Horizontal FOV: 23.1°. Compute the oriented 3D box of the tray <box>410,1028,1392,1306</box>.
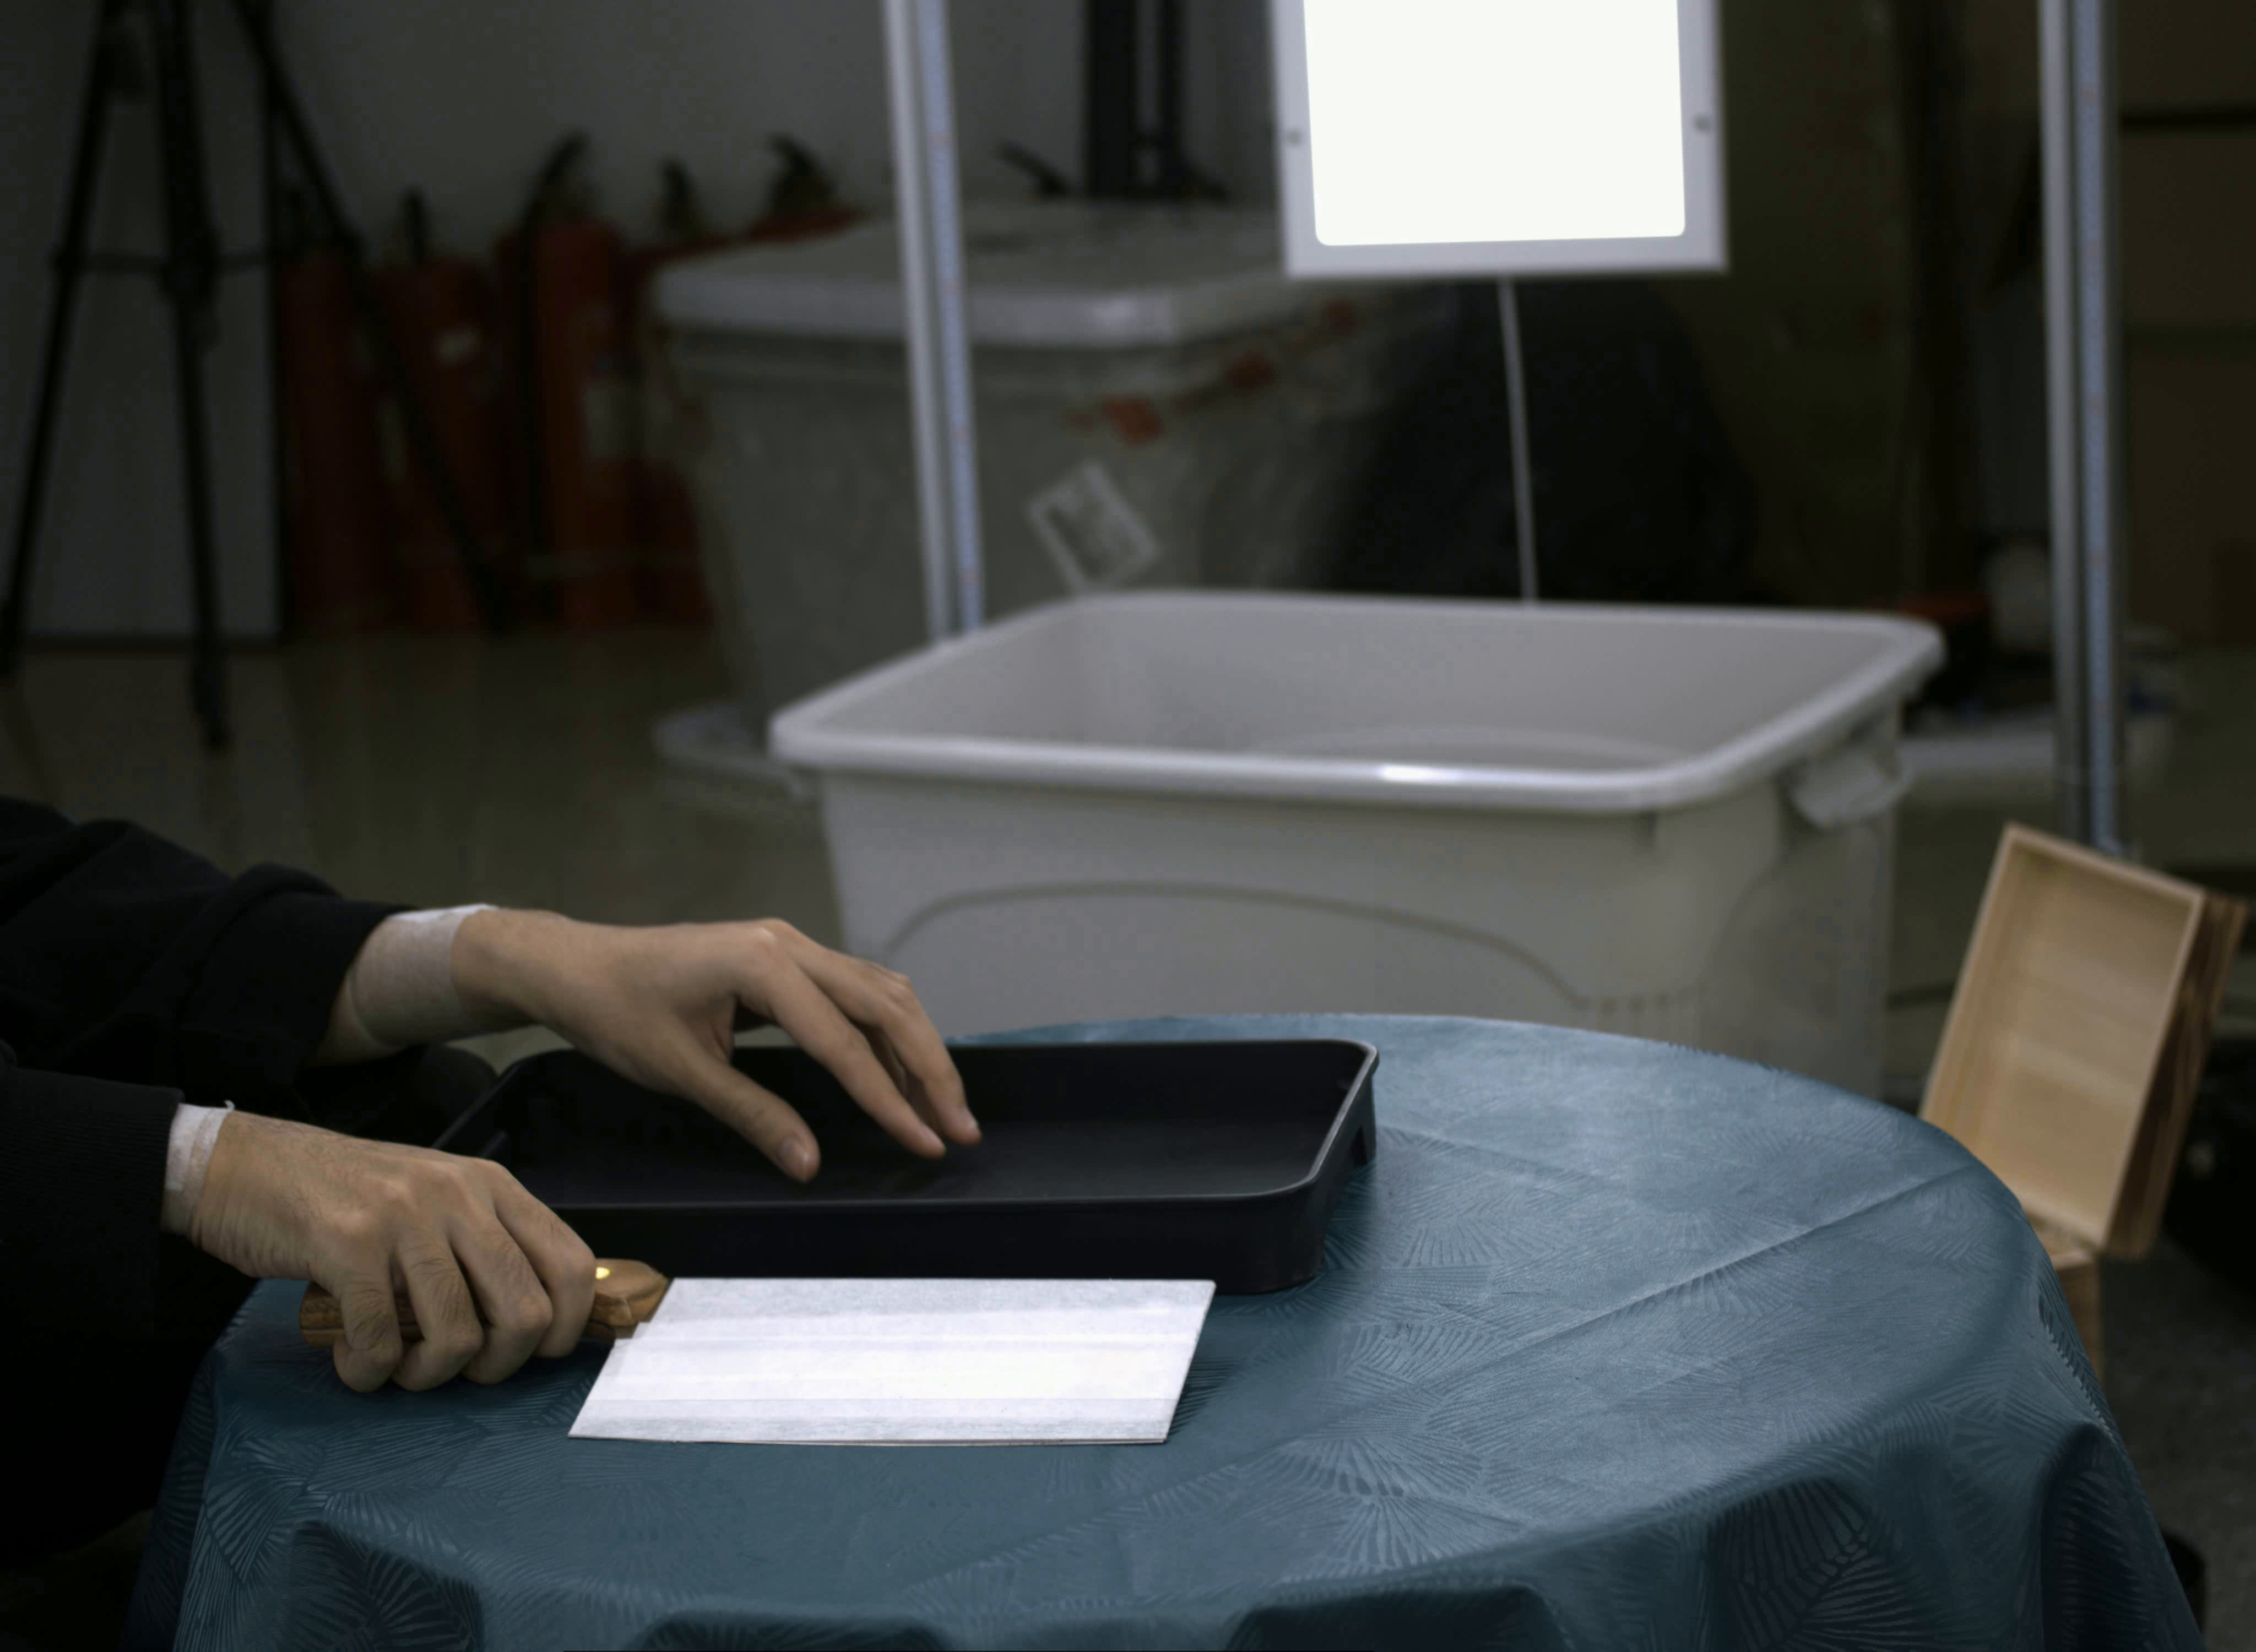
[{"bbox_3d":[-0.073,0.116,1.890,0.320,0.037,0.182,-3,14,12],"label":"tray"}]

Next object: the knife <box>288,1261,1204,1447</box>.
[{"bbox_3d":[-0.128,0.167,1.733,0.309,0.021,0.092,-1,28,16],"label":"knife"}]
